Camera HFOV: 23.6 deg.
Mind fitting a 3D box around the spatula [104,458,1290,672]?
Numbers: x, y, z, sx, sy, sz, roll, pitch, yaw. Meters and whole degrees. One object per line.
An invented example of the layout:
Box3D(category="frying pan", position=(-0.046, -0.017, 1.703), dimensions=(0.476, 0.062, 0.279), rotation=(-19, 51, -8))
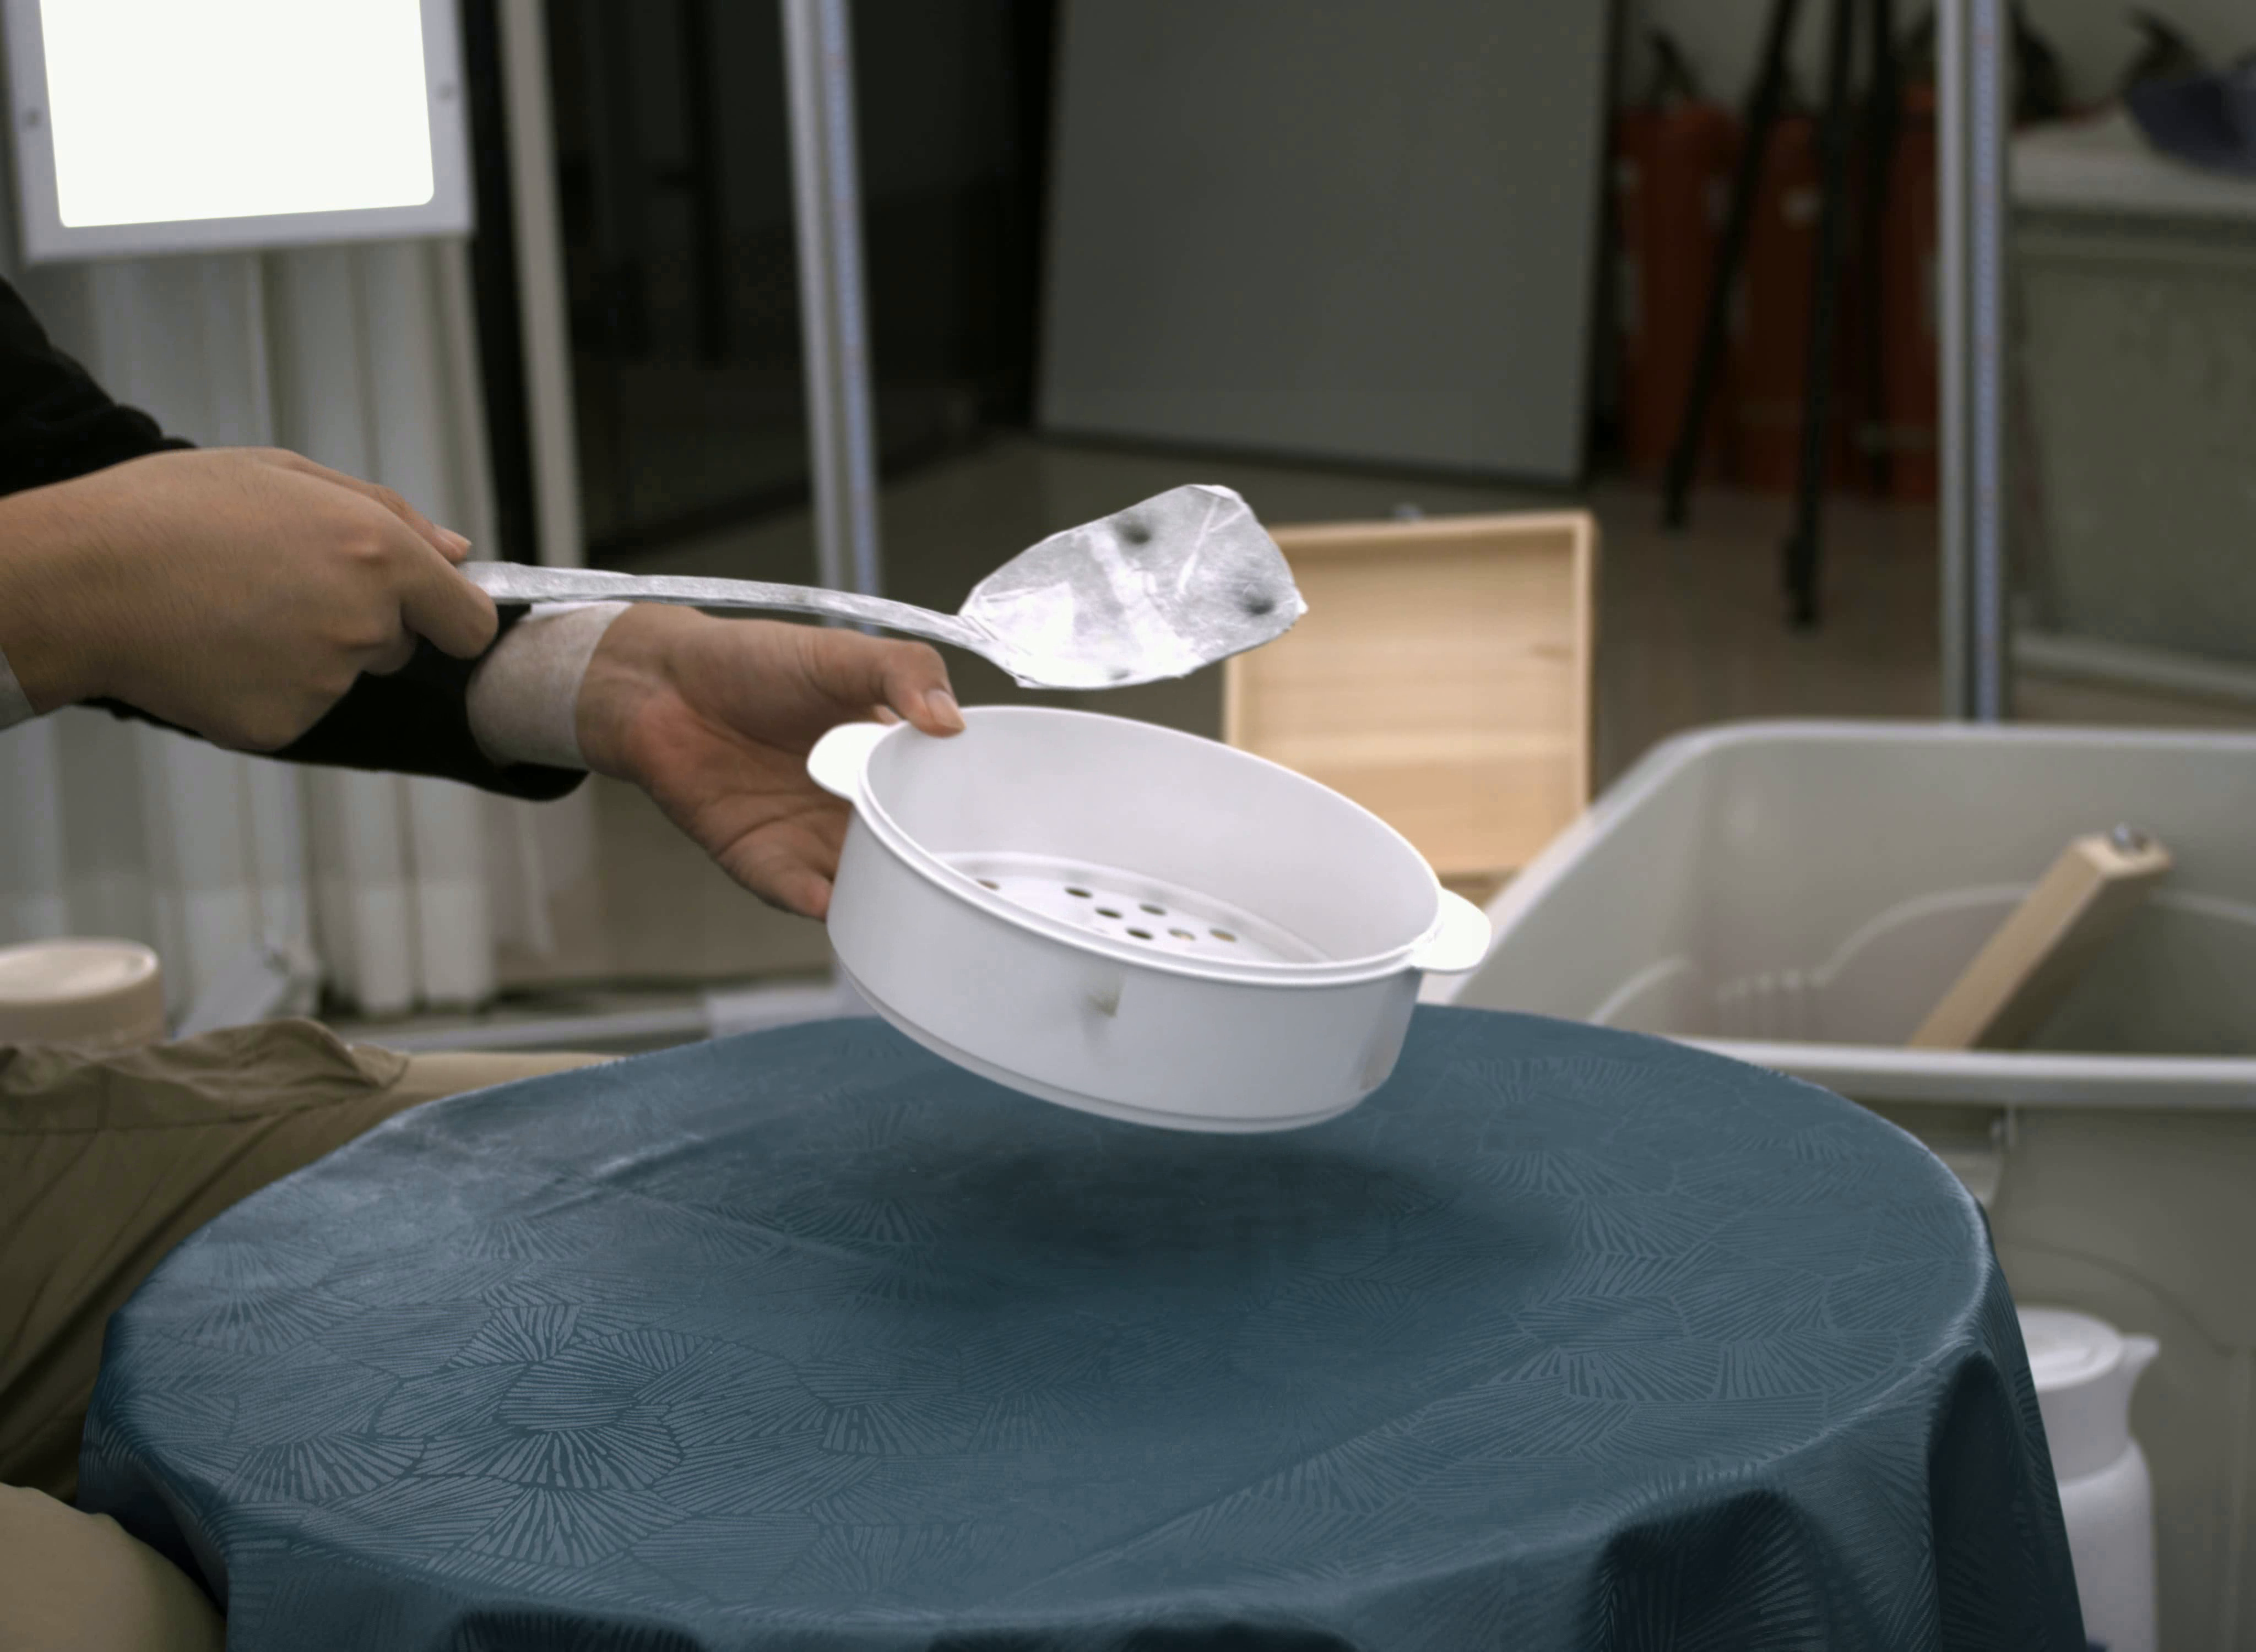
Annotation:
Box3D(category="spatula", position=(-0.127, -0.081, 1.646), dimensions=(0.357, 0.045, 0.100), rotation=(2, 33, -18))

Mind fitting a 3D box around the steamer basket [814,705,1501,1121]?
Box3D(category="steamer basket", position=(0.004, 0.029, 1.747), dimensions=(0.229, 0.070, 0.201), rotation=(16, 20, 7))
